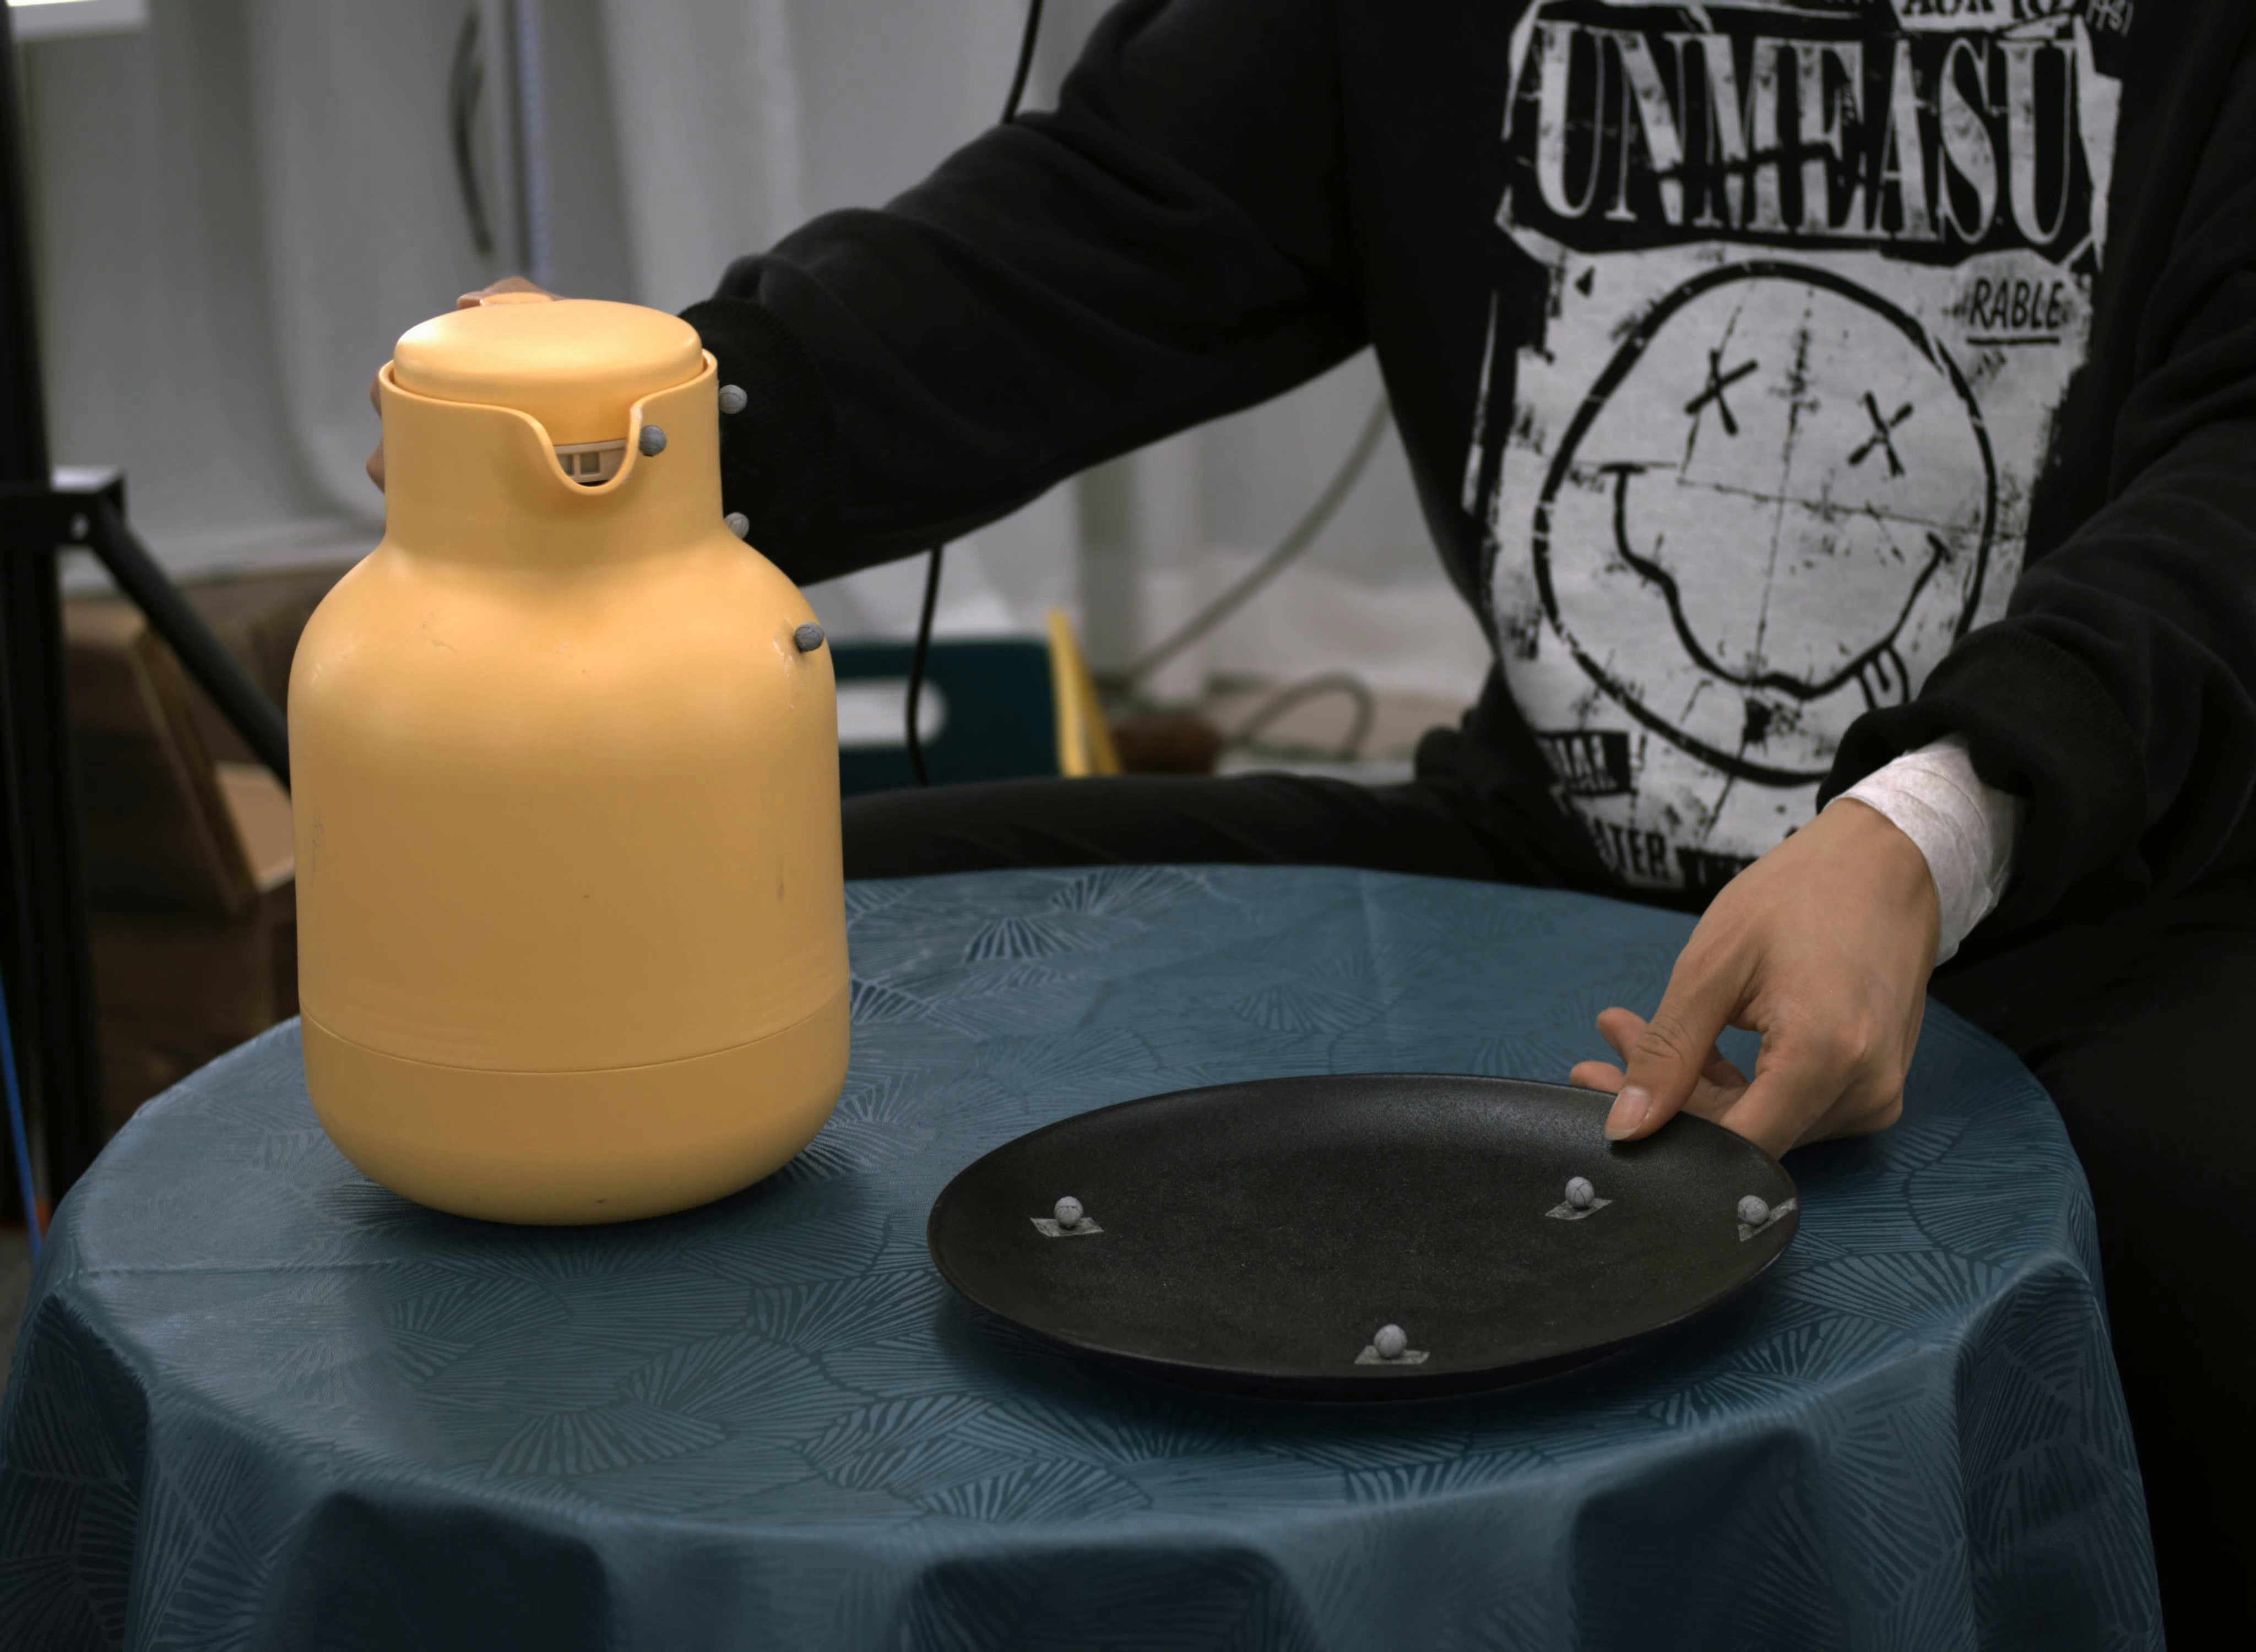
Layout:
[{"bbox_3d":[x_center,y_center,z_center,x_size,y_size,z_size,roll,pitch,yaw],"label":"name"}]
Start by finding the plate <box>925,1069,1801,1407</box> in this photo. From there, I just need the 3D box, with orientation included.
[{"bbox_3d":[0.065,0.117,1.469,0.243,0.023,0.246,-3,16,-1],"label":"plate"}]

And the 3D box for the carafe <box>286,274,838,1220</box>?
[{"bbox_3d":[-0.169,-0.031,1.583,0.161,0.260,0.205,-2,19,-11],"label":"carafe"}]
